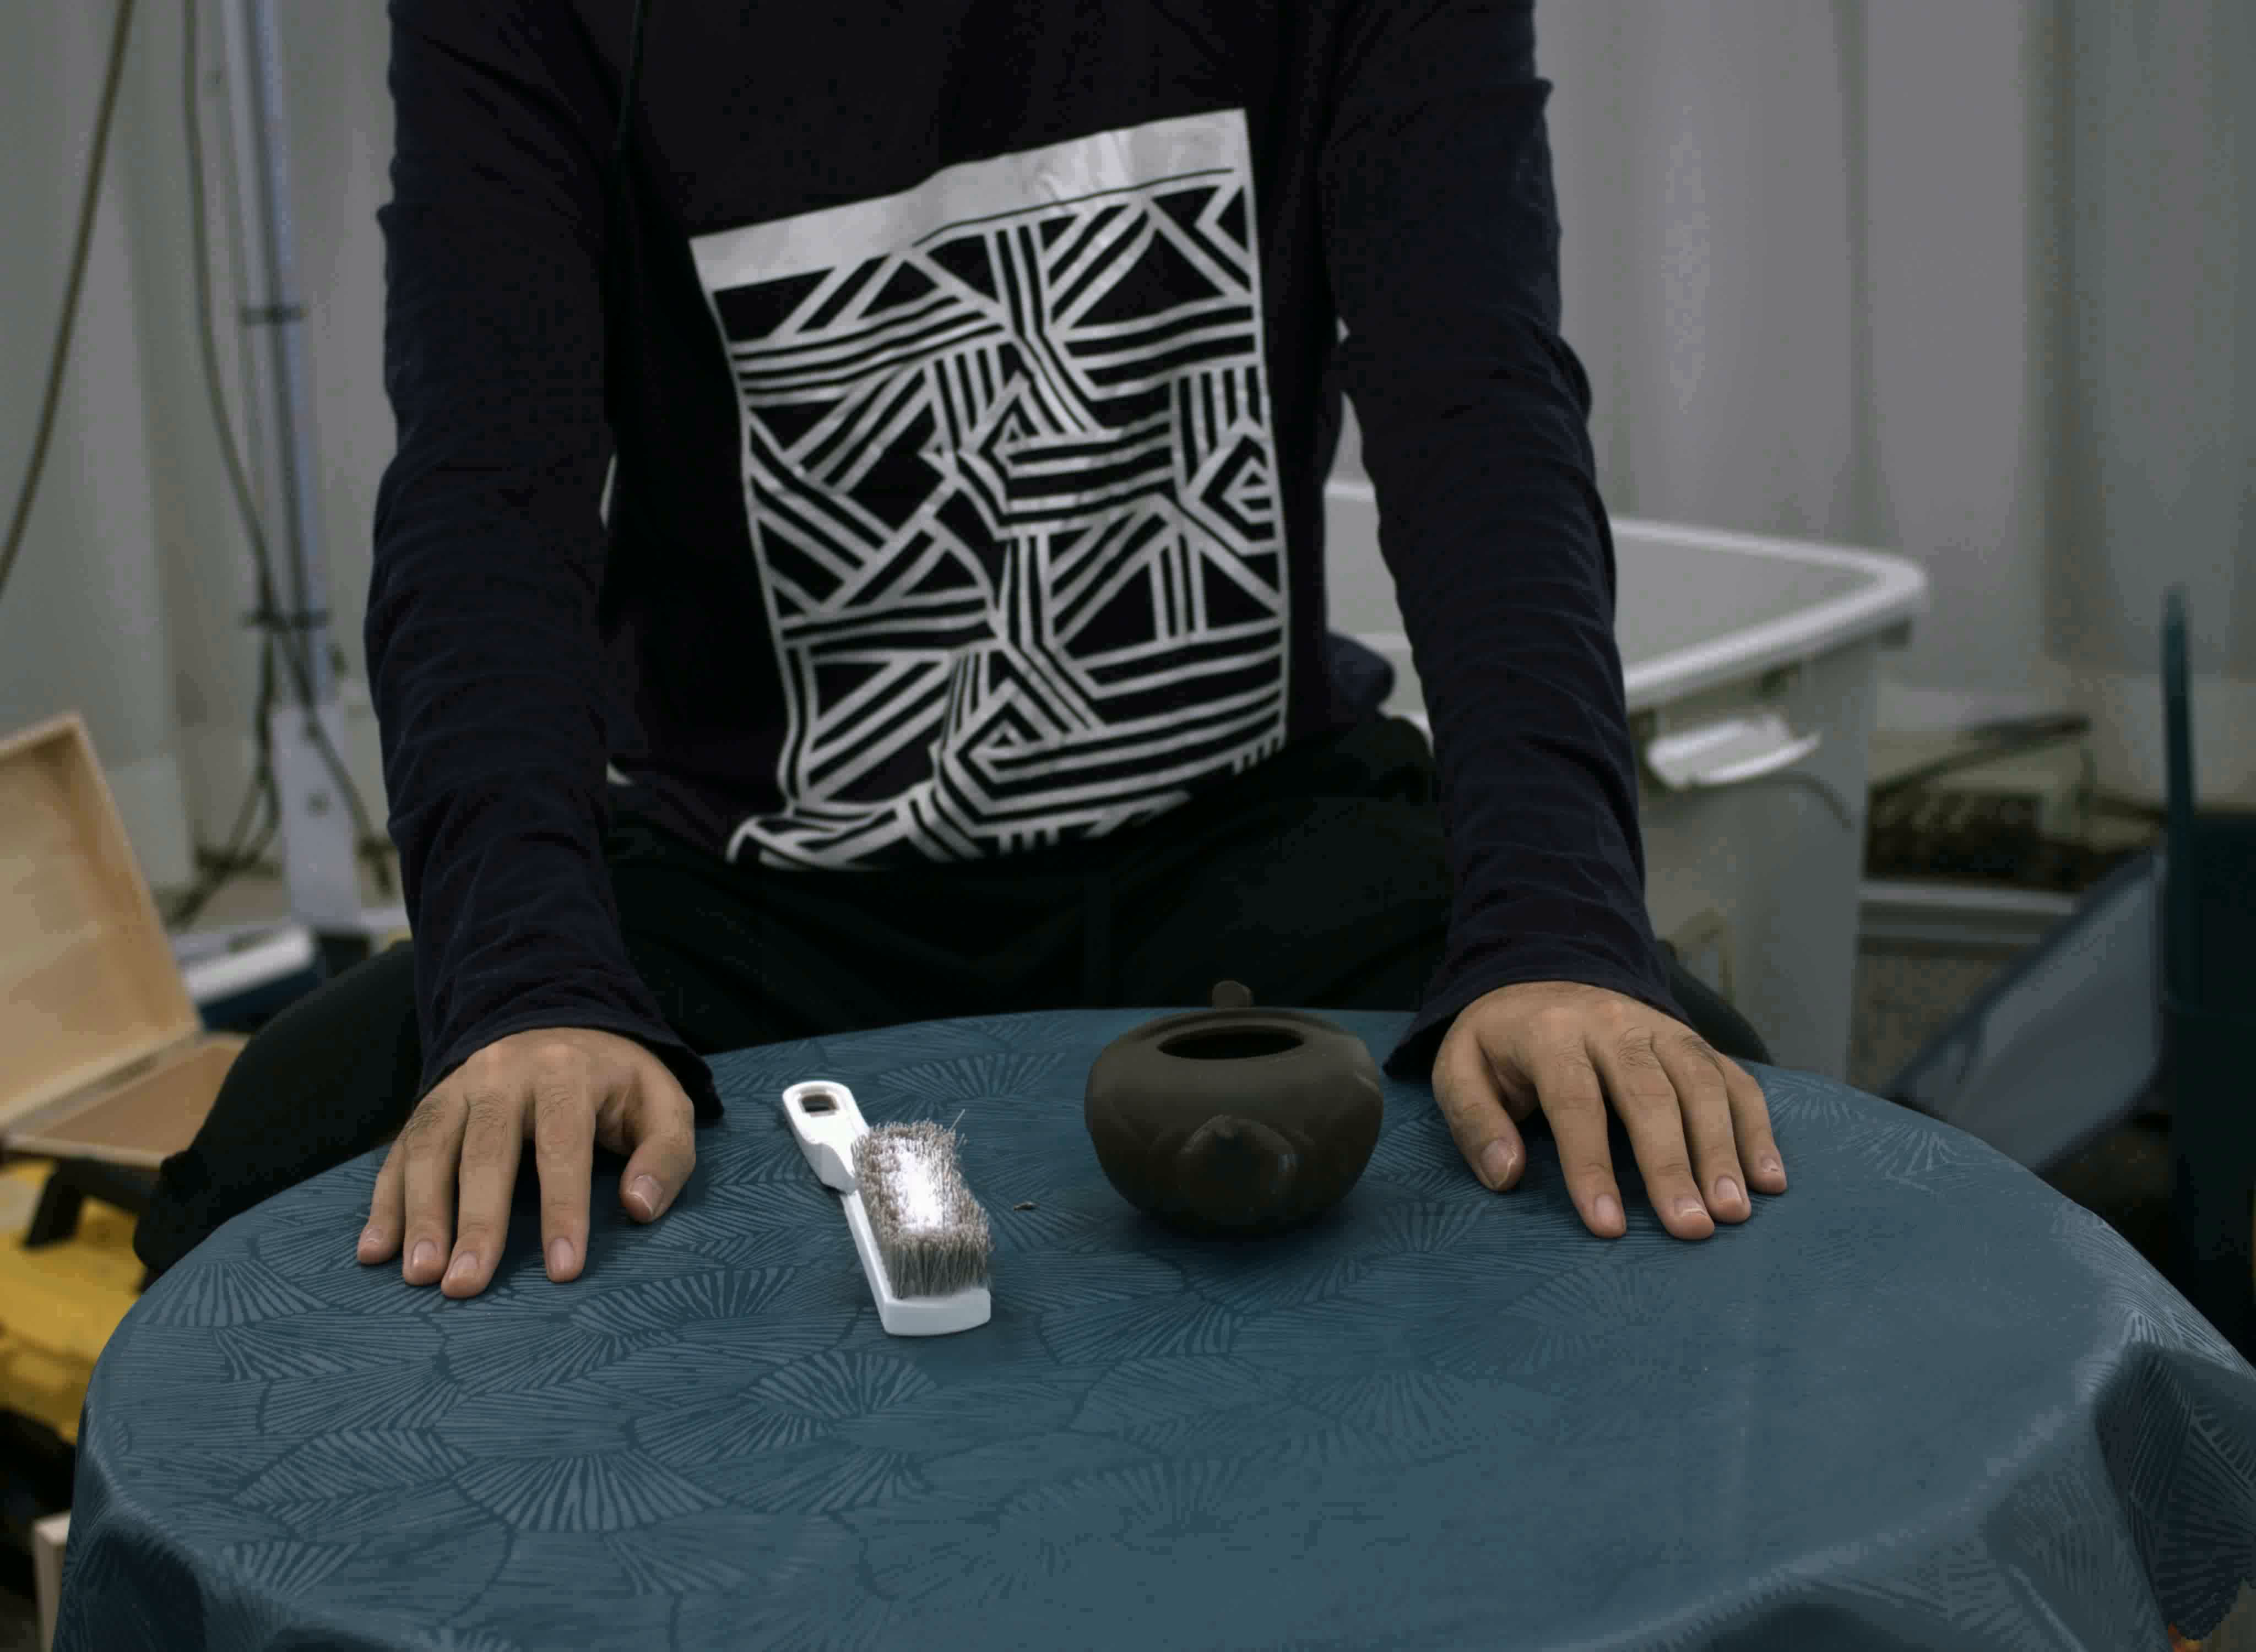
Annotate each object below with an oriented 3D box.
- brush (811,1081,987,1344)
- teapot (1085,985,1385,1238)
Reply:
[{"bbox_3d":[-0.077,0.100,1.696,0.034,0.050,0.245,-10,16,-7],"label":"brush"},{"bbox_3d":[0.033,0.089,1.688,0.092,0.064,0.155,-3,14,4],"label":"teapot"}]
